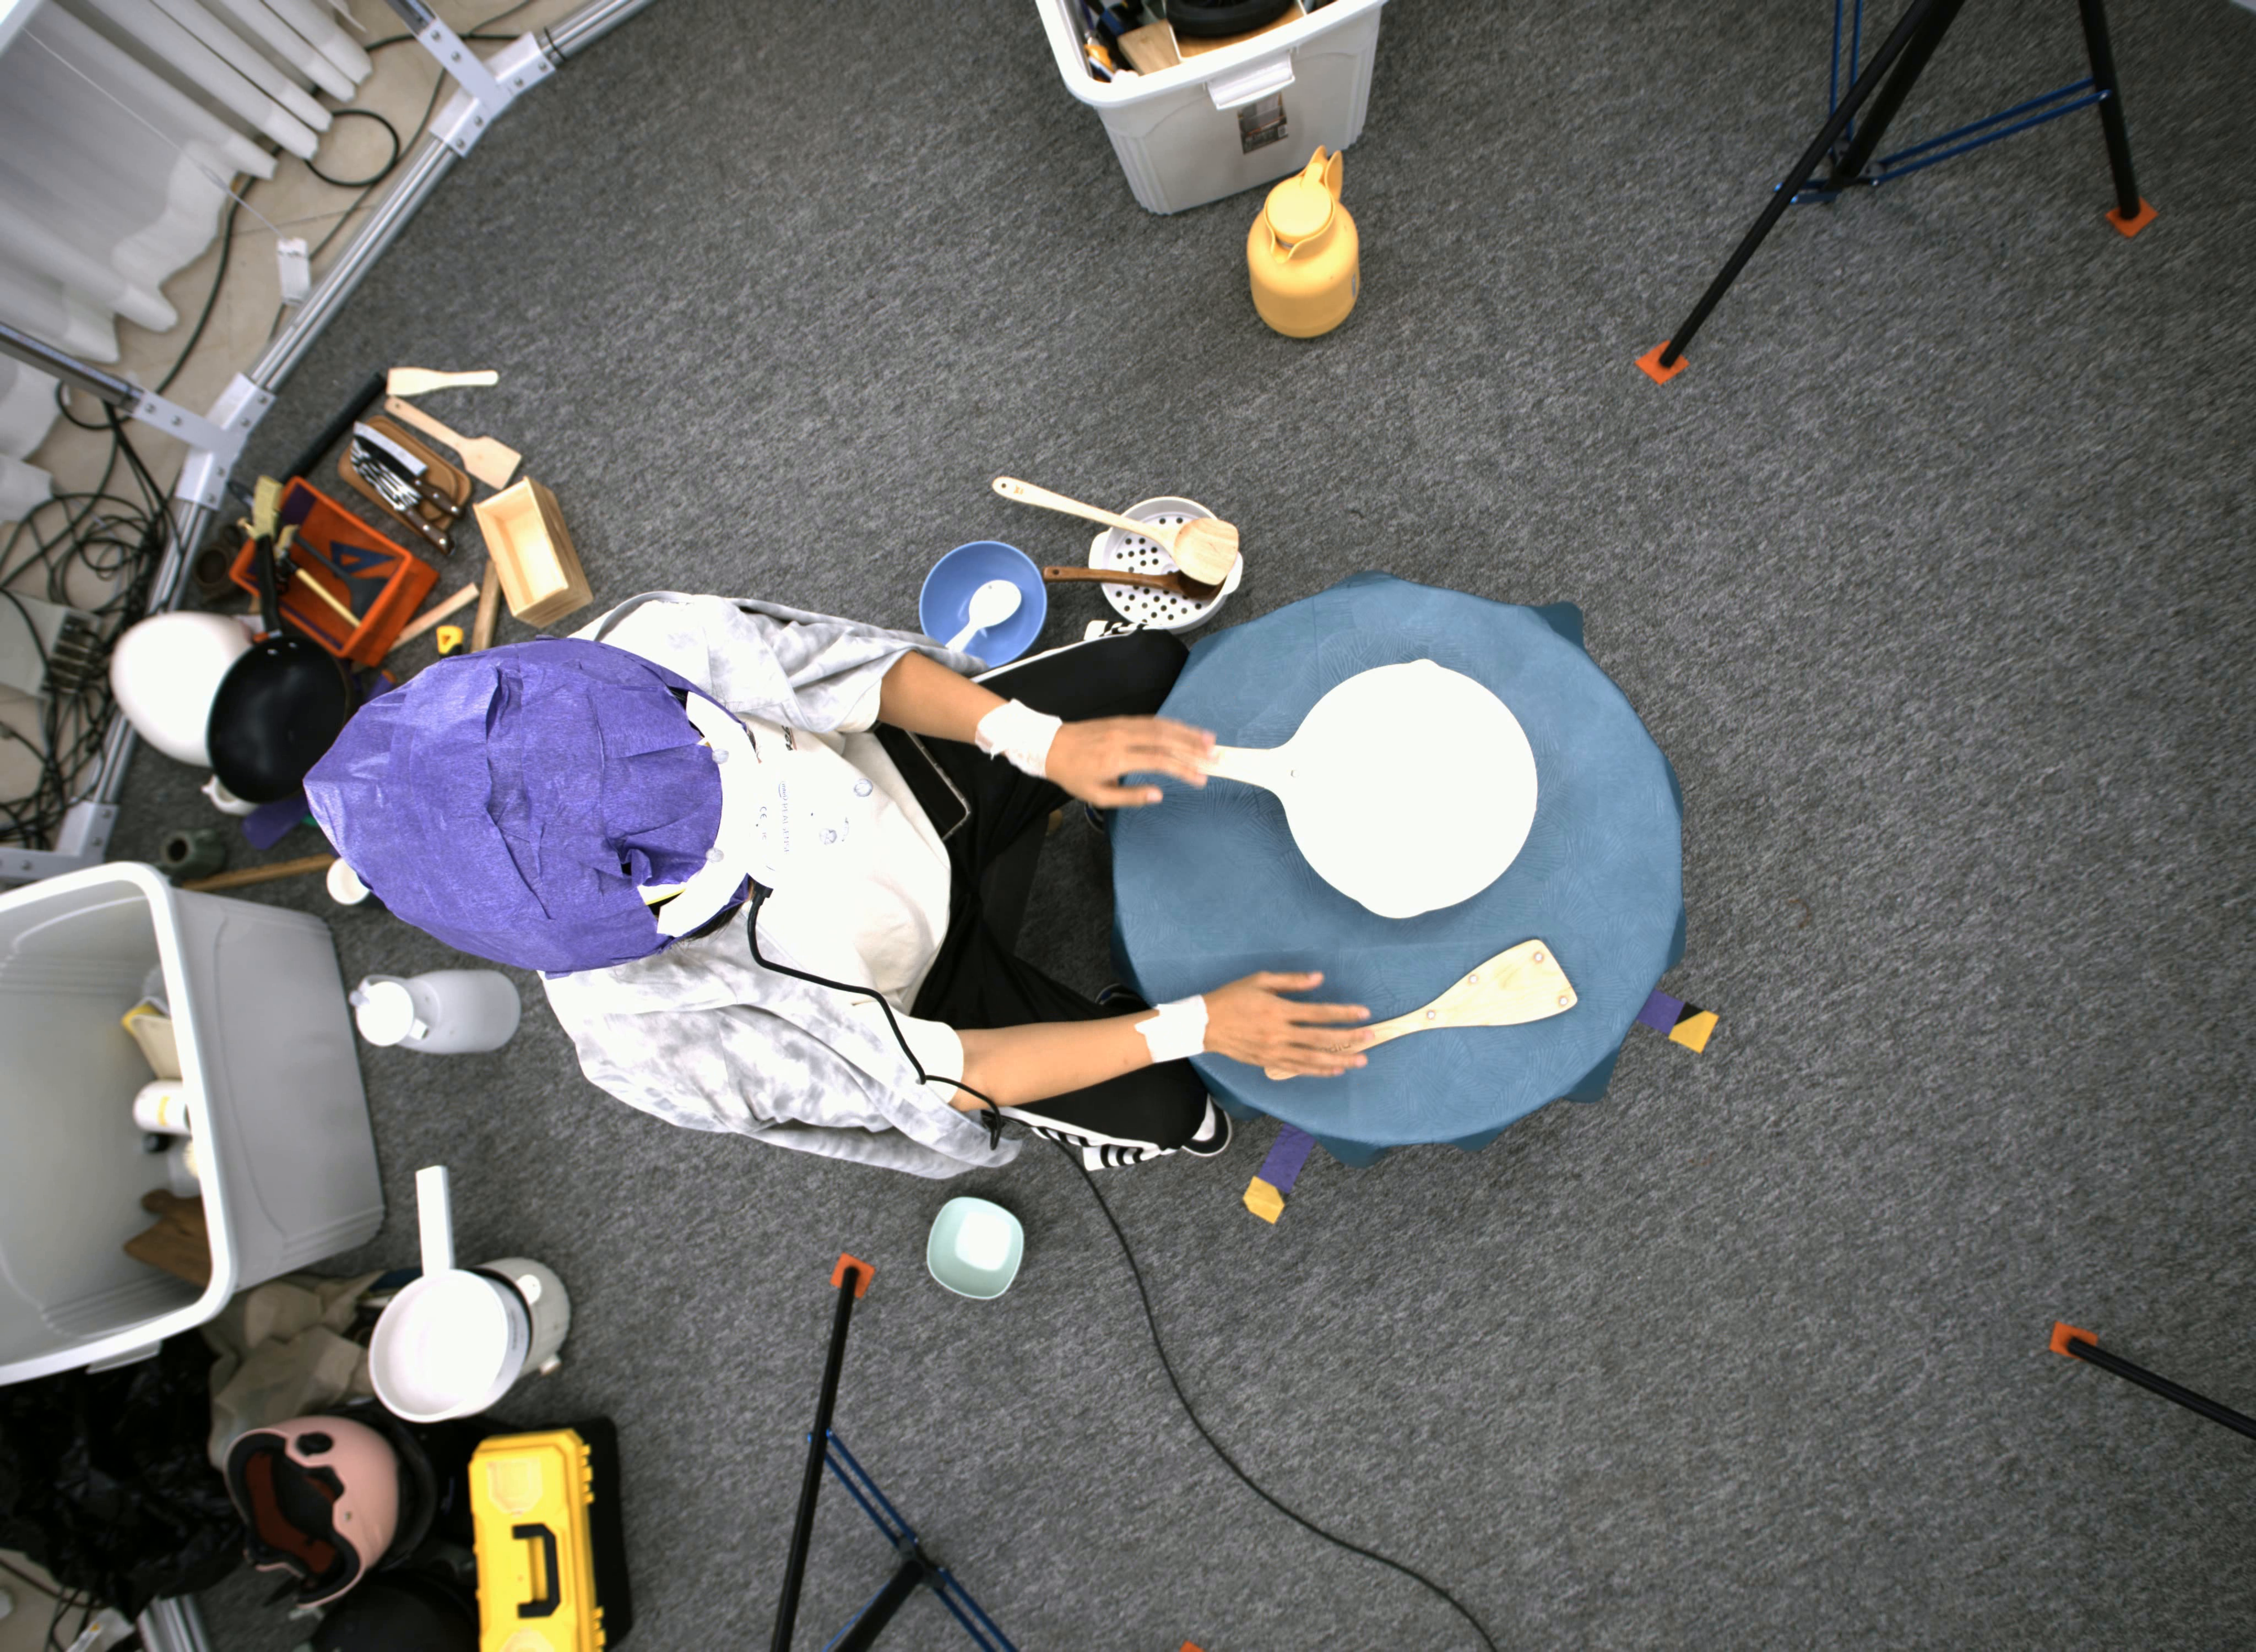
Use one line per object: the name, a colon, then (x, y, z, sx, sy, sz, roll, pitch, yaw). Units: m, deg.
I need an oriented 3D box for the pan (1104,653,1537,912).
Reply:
pan: (0.196, -0.055, 1.428, 0.436, 0.102, 0.263, 7, 89, 11)

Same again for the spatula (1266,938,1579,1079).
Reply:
spatula: (0.298, 0.200, 1.437, 0.329, 0.016, 0.079, -20, 83, 10)
